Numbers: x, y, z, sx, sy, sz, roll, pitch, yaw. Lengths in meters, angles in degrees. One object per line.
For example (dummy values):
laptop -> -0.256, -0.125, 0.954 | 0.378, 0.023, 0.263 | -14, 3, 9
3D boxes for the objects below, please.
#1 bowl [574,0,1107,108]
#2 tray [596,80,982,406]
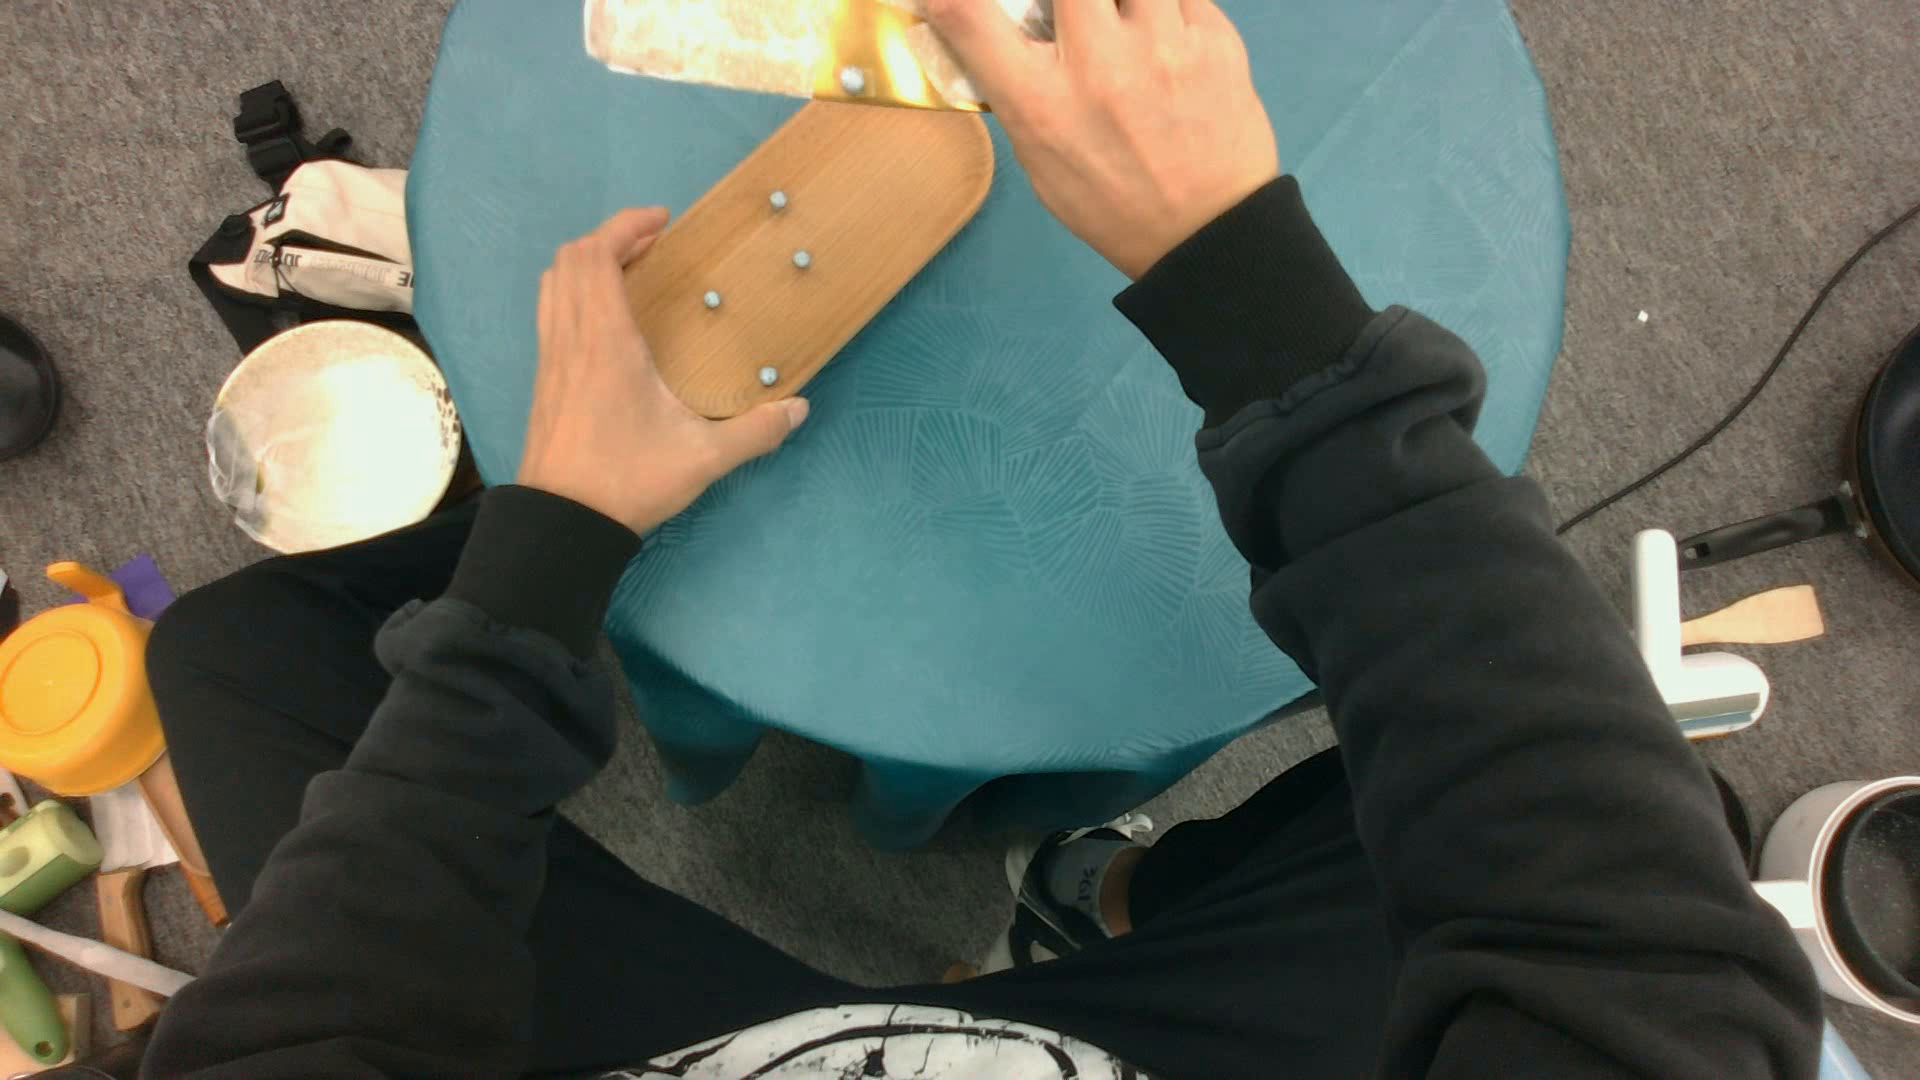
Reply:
bowl -> -0.039, -0.226, 0.521 | 0.215, 0.215, 0.094 | 4, 112, -4
tray -> -0.080, -0.156, 0.676 | 0.101, 0.020, 0.232 | 39, 67, 4
